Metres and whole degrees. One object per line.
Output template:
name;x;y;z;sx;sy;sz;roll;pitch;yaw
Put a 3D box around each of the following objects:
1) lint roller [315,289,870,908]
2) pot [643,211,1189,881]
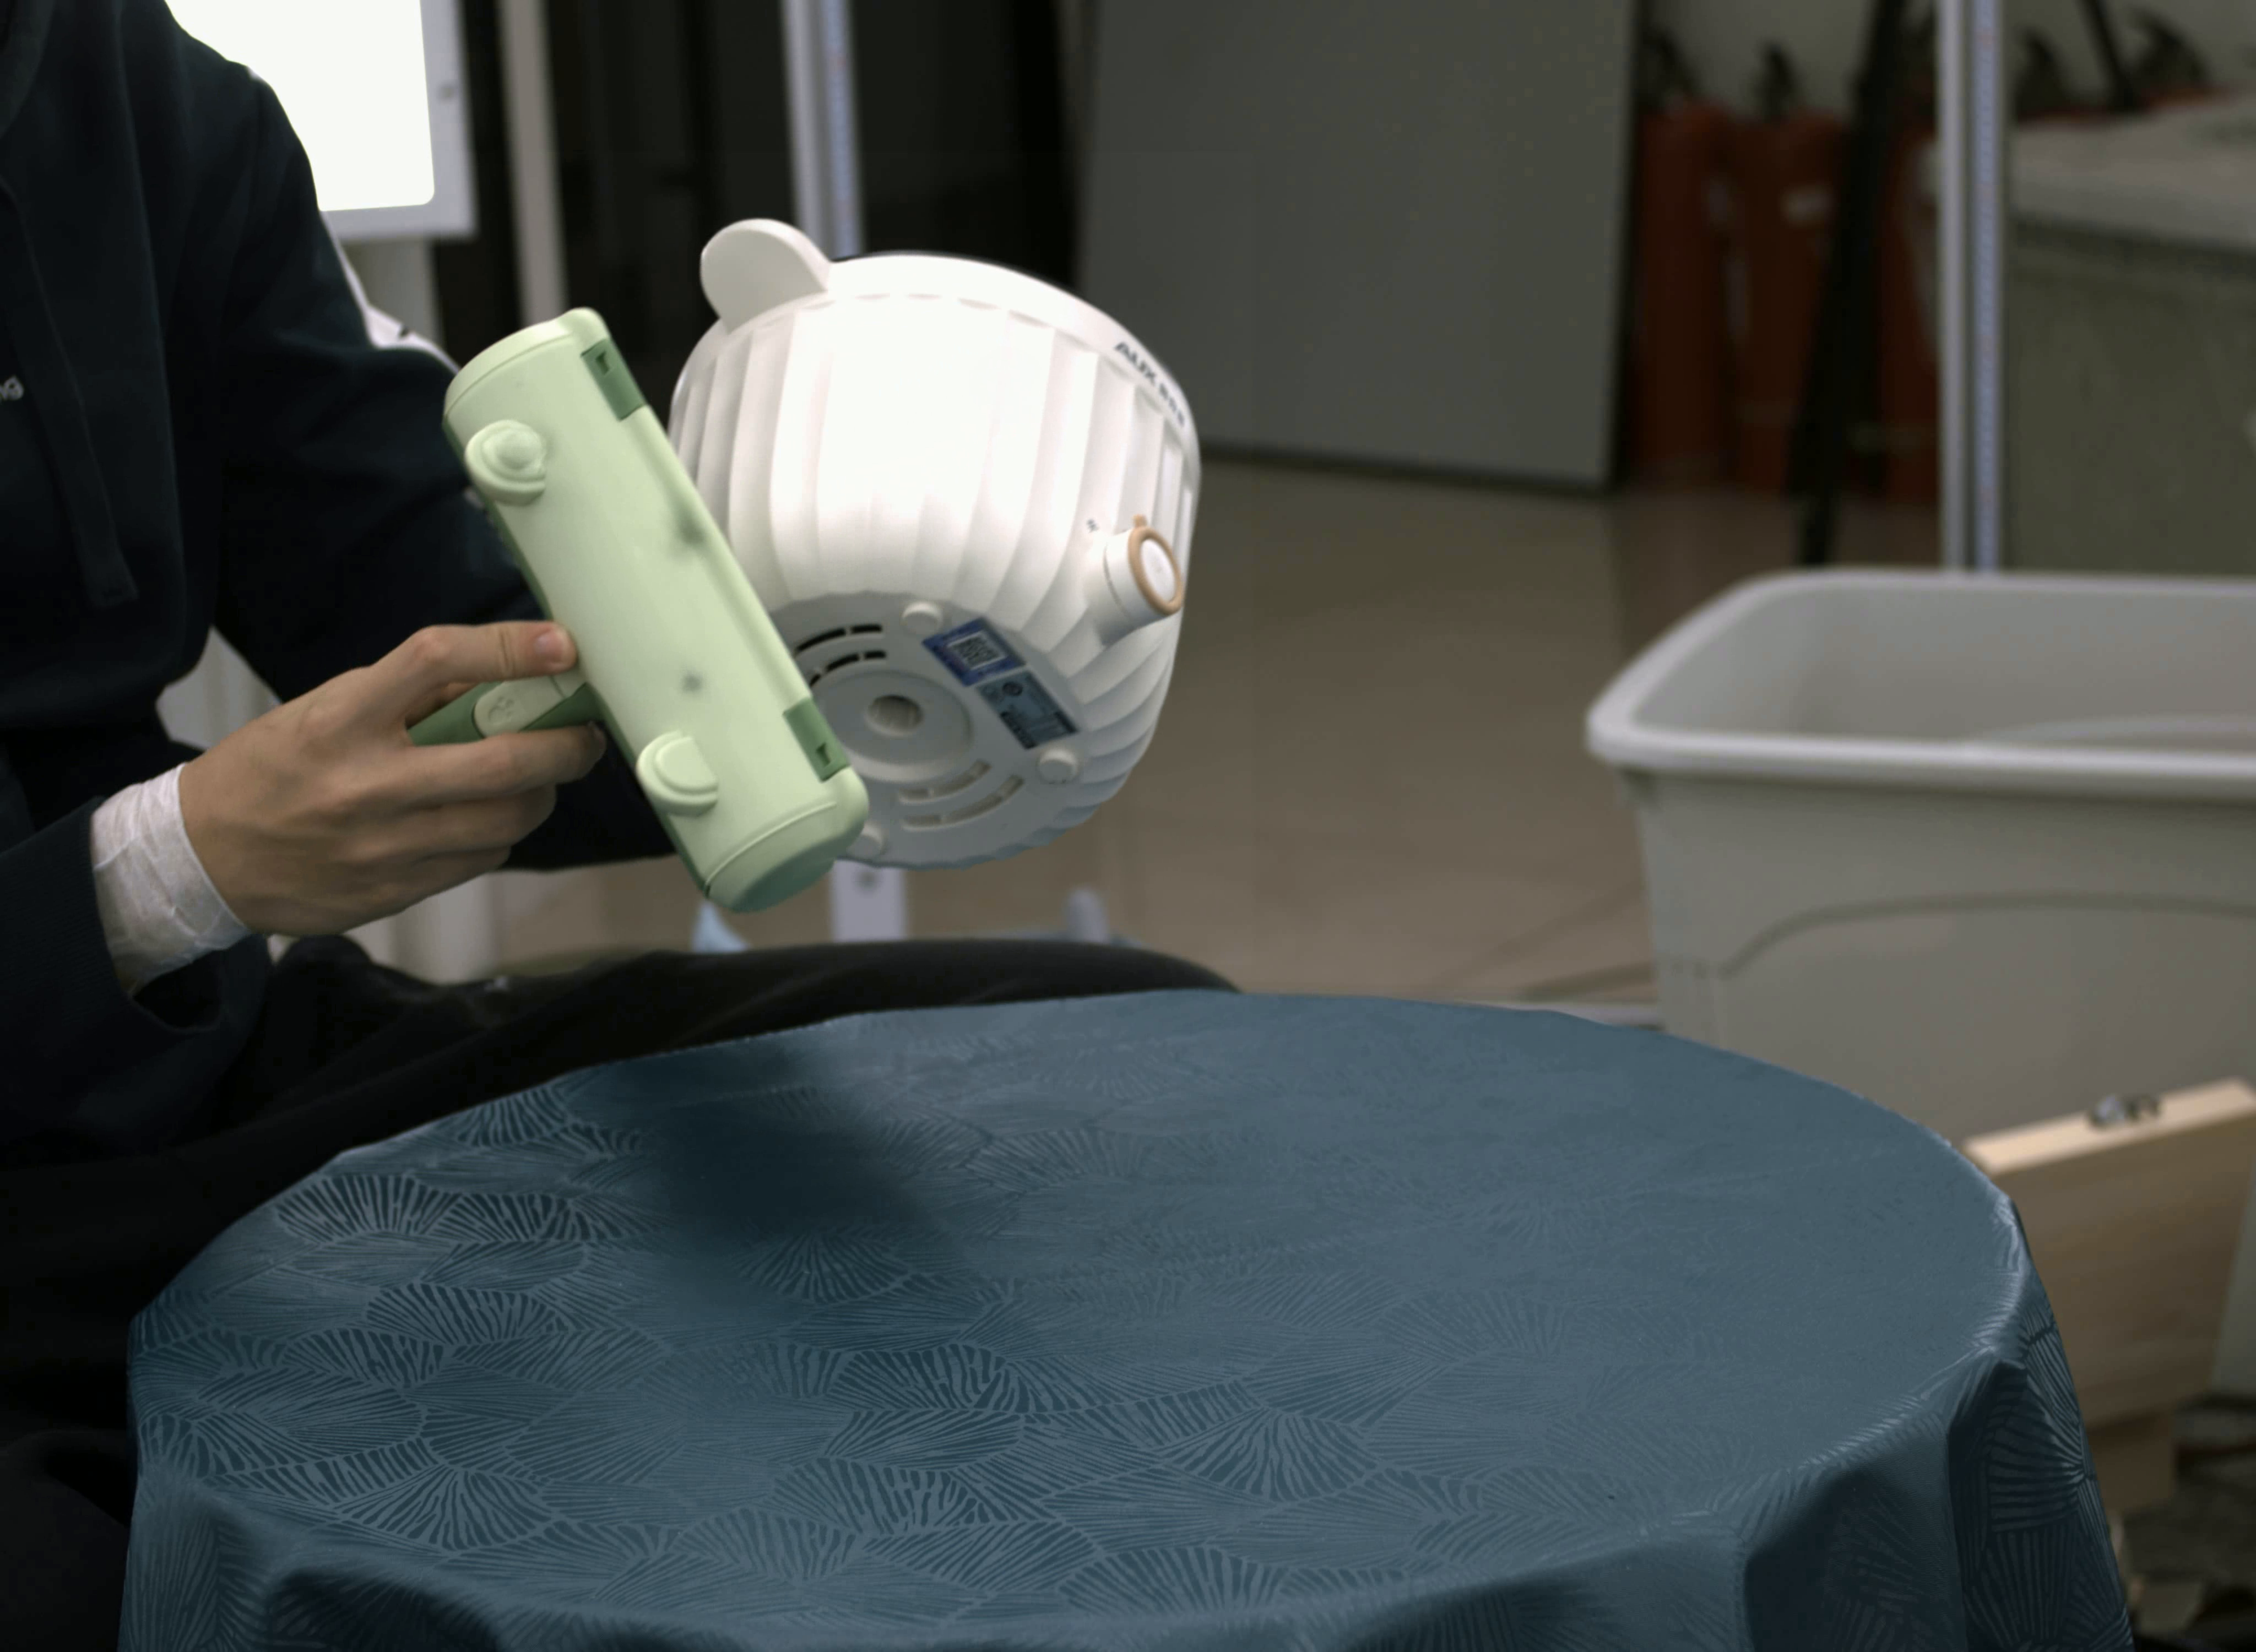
lint roller;-0.196;-0.040;1.701;0.183;0.201;0.081;-34;-15;14
pot;-0.067;-0.079;1.781;0.191;0.238;0.143;-23;40;25
